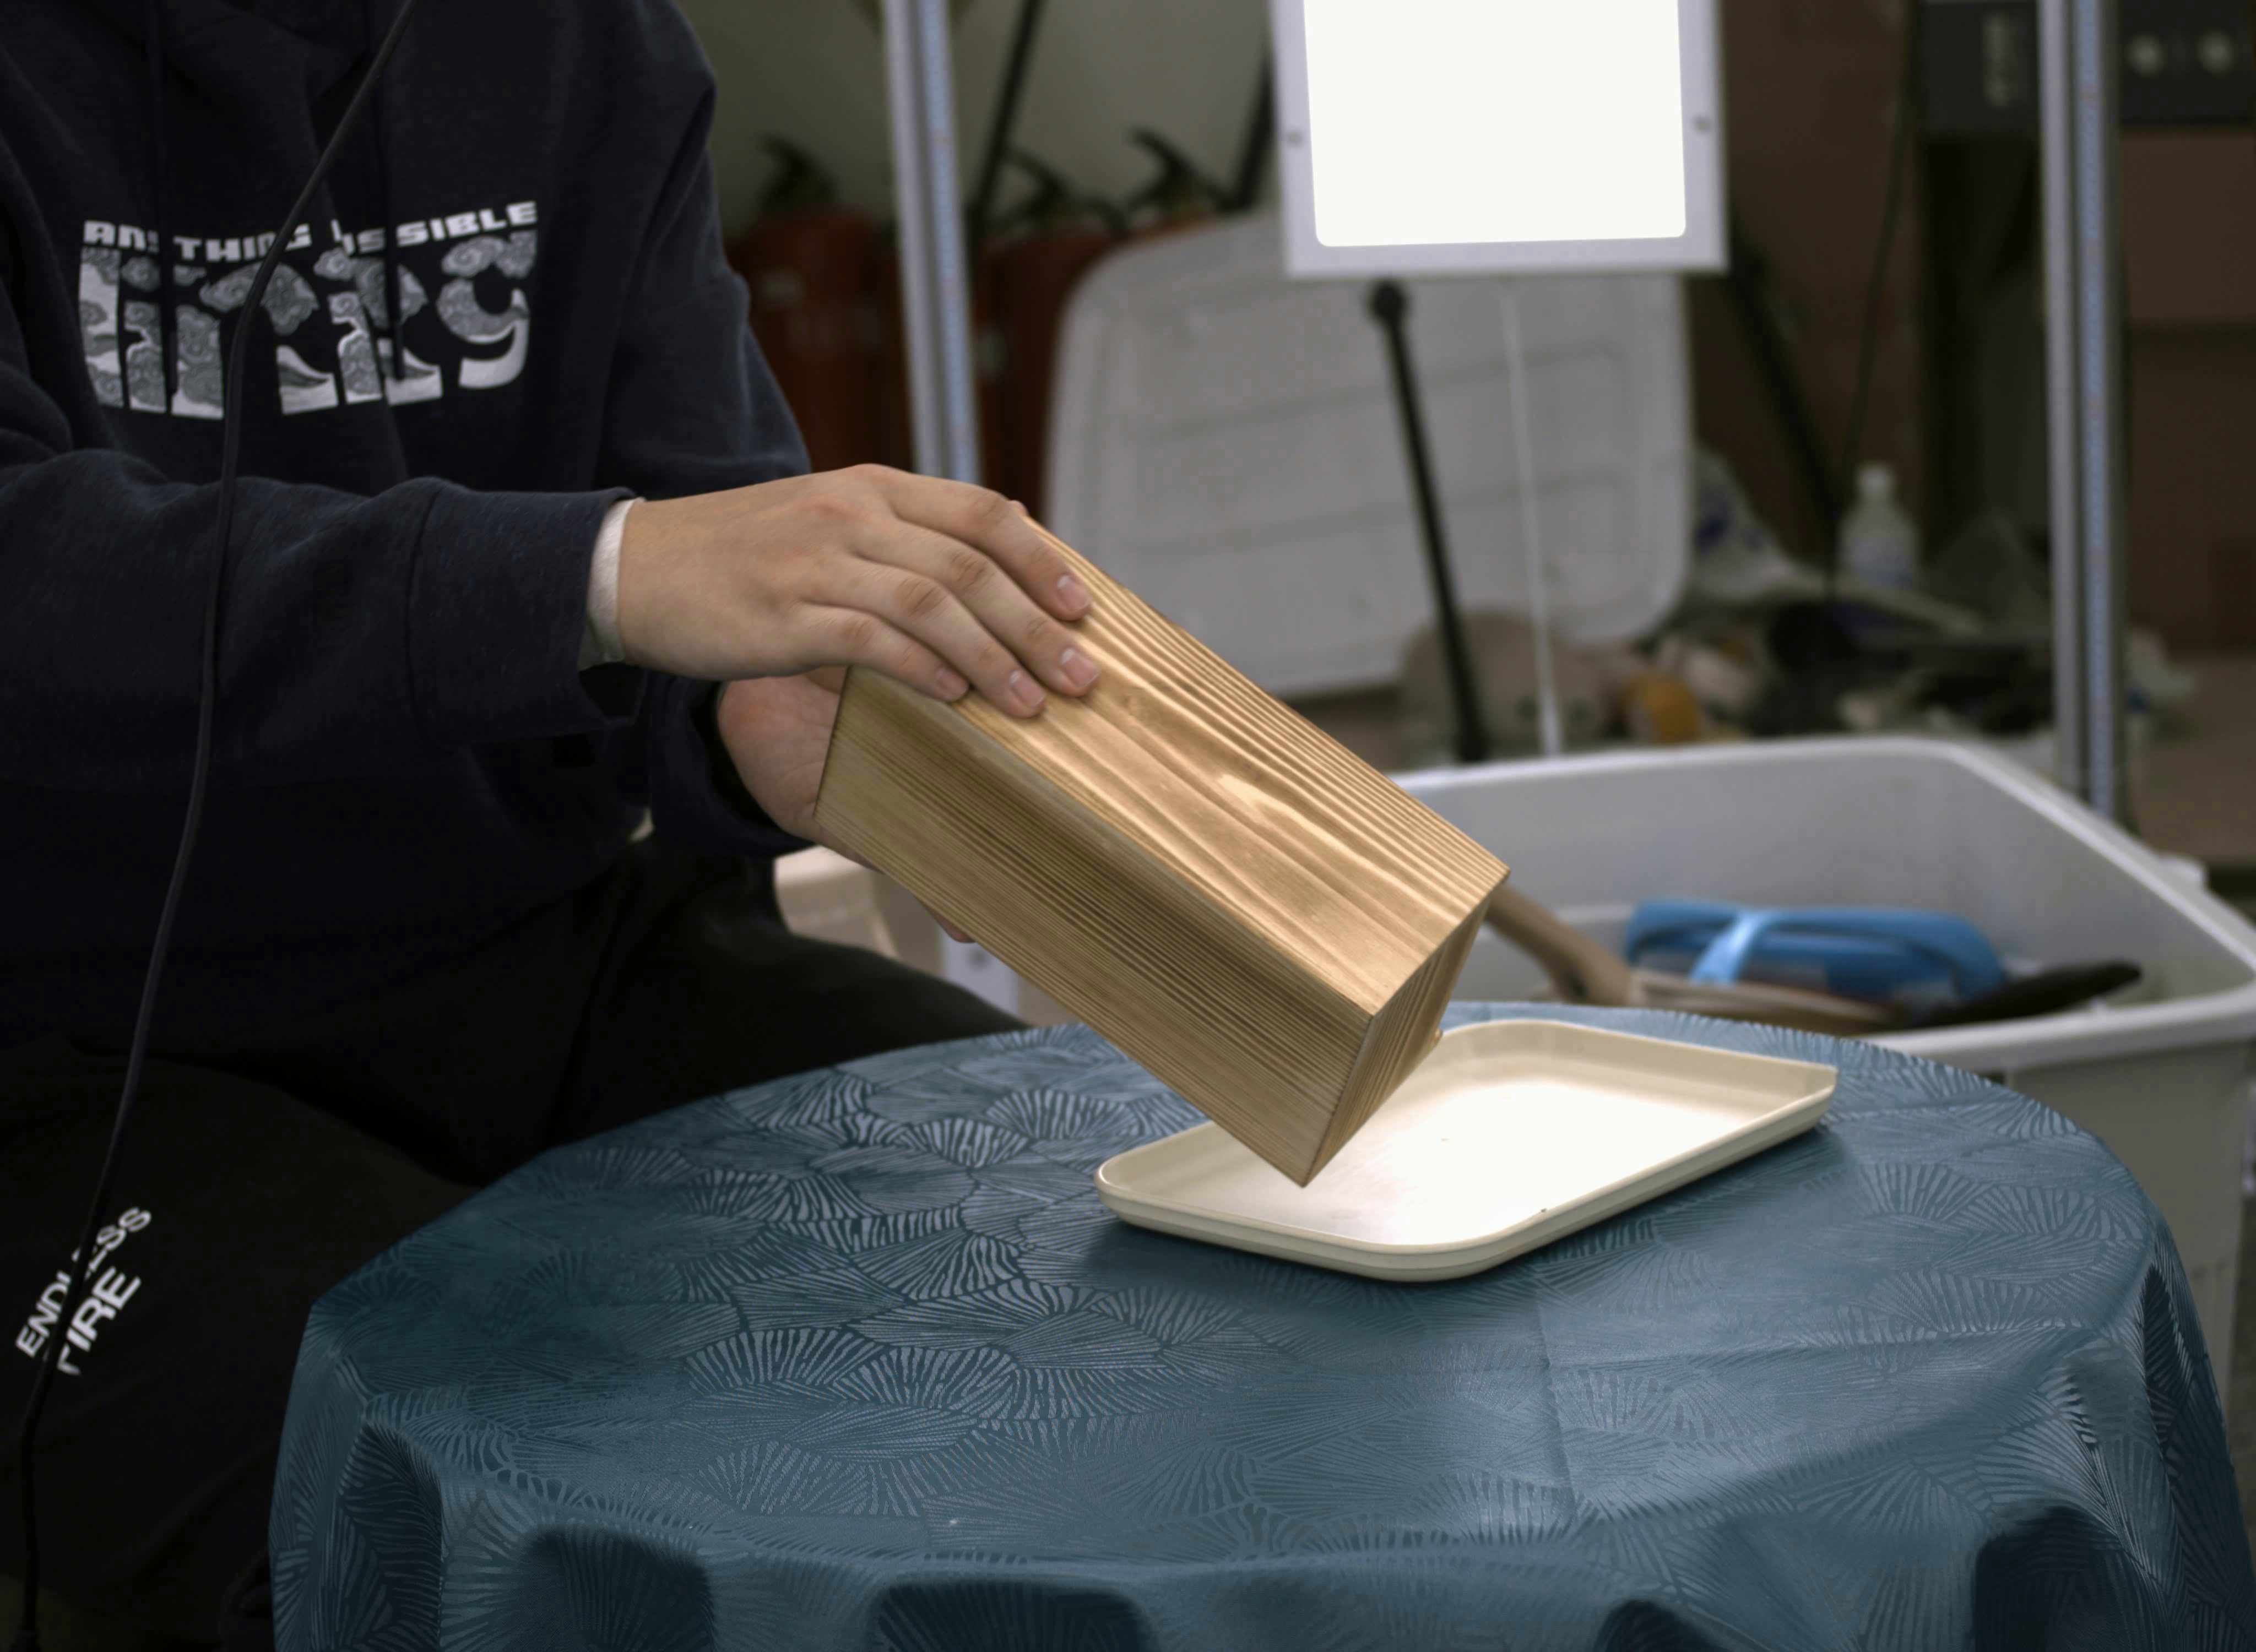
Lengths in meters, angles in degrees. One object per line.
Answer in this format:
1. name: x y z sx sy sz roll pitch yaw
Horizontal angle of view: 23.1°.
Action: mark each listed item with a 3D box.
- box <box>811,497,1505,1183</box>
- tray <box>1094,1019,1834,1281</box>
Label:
1. box: 0.007 0.004 1.797 0.213 0.108 0.079 36 57 15
2. tray: 0.118 0.110 1.888 0.175 0.017 0.233 7 18 44
